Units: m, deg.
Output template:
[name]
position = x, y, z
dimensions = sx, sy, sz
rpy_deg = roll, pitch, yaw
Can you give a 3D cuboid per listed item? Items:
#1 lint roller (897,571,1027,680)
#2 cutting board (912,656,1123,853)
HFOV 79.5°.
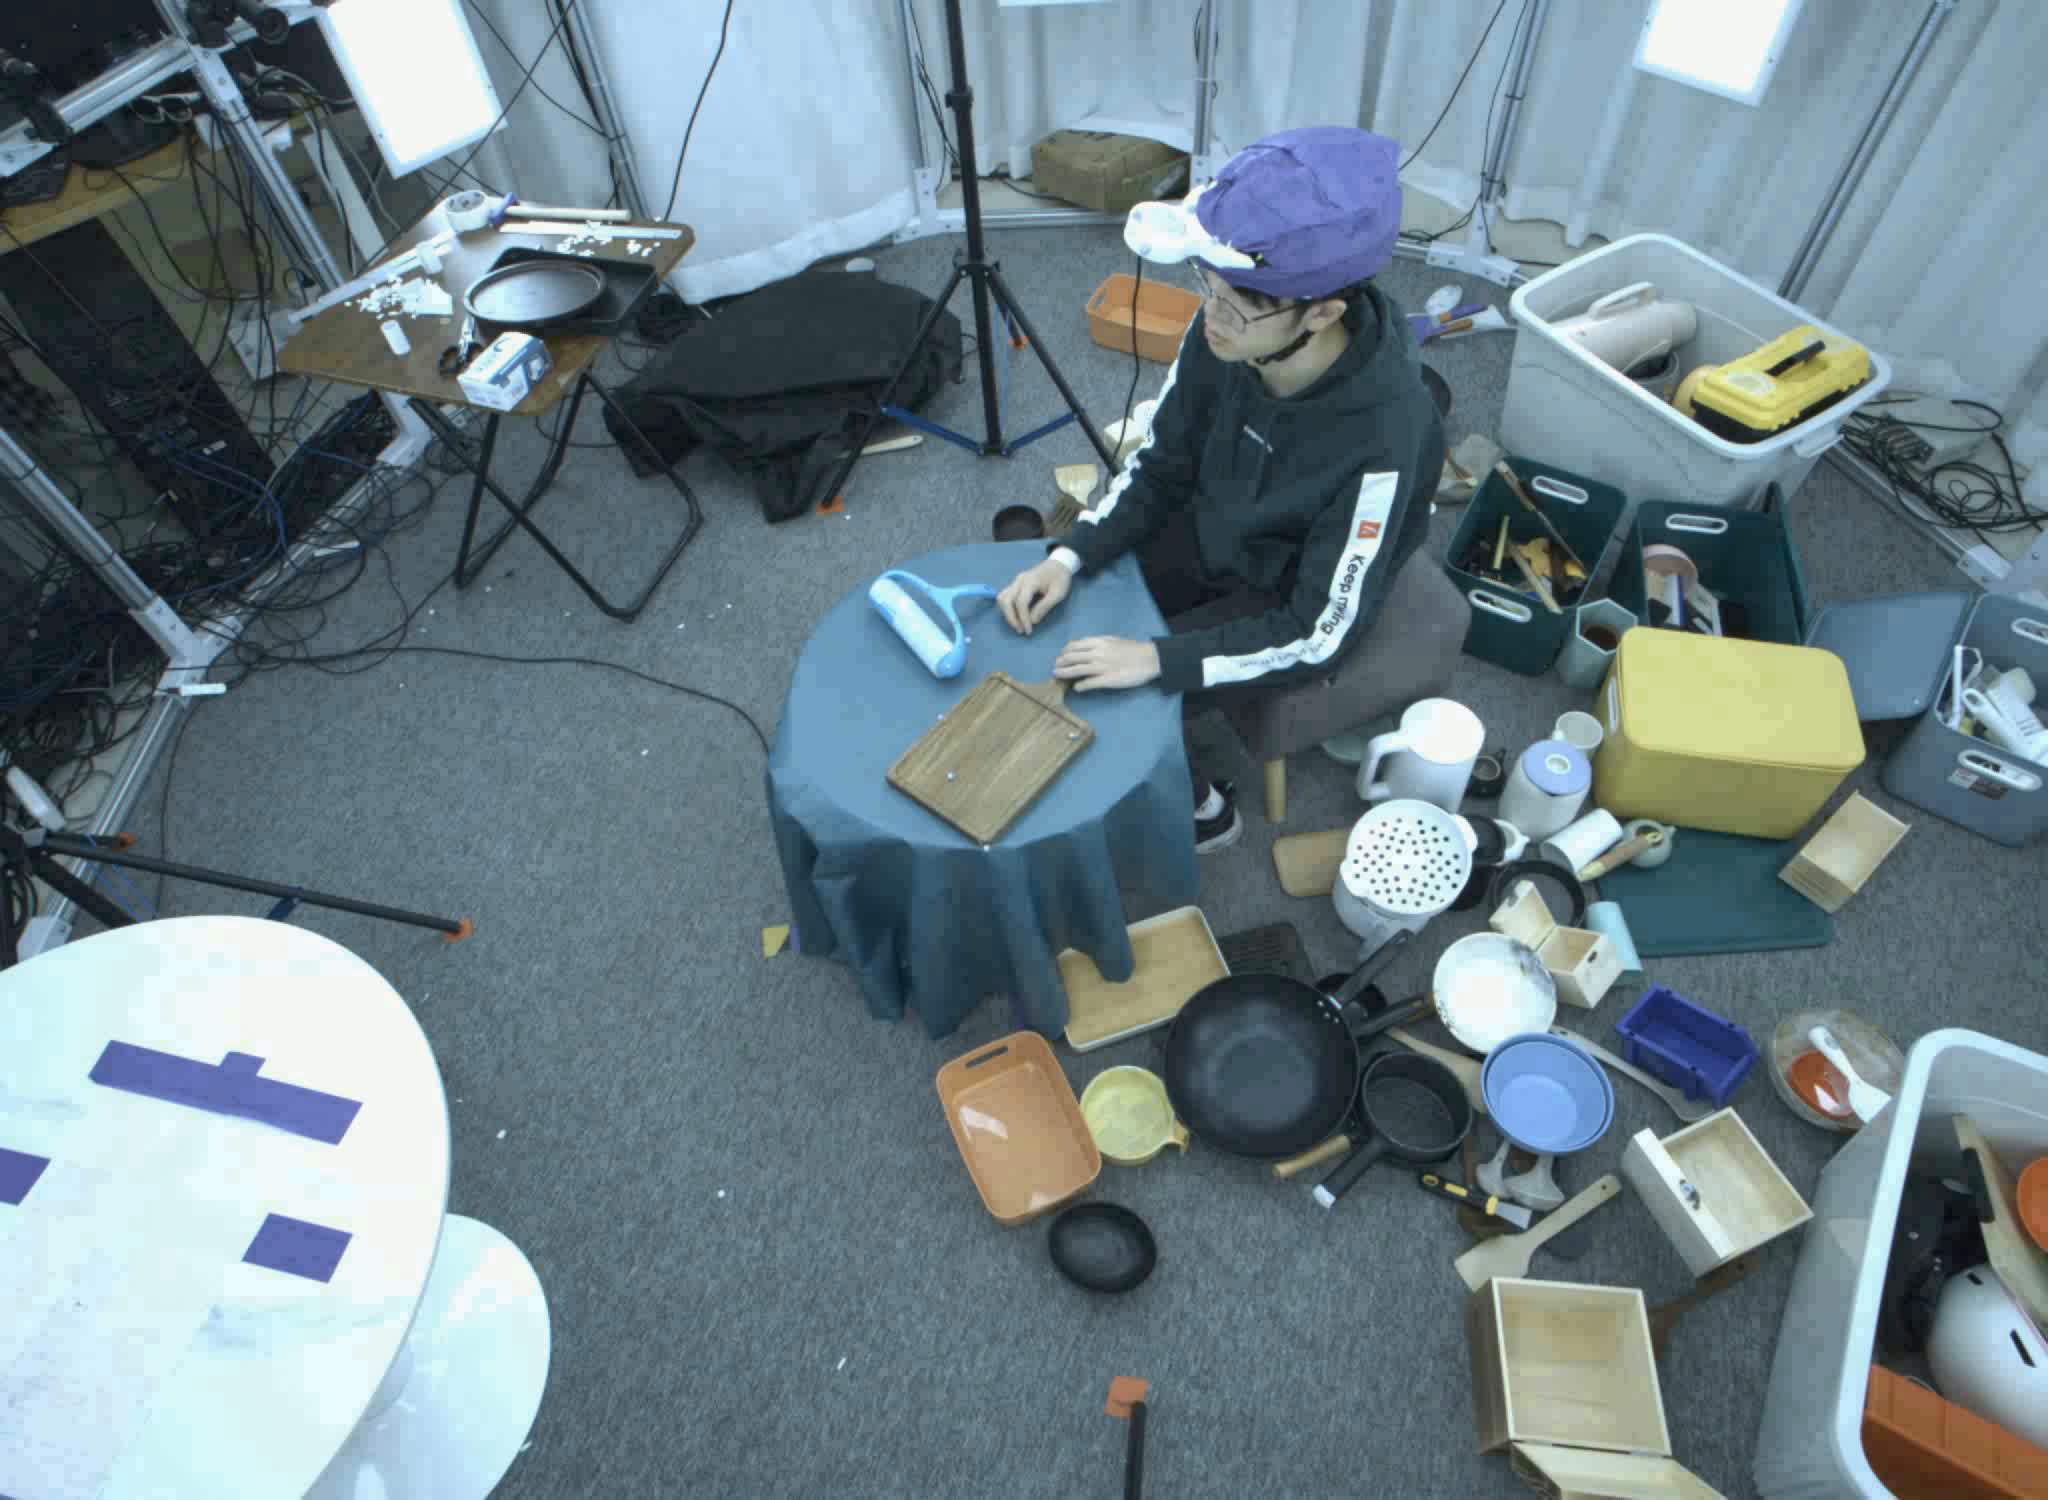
[lint roller]
position = -0.076, -0.219, 1.906
dimensions = 0.181, 0.069, 0.224
rpy_deg = -33, 59, -19
[cutting board]
position = 0.024, -0.020, 1.783
dimensions = 0.198, 0.023, 0.354
rpy_deg = 34, 63, 22
